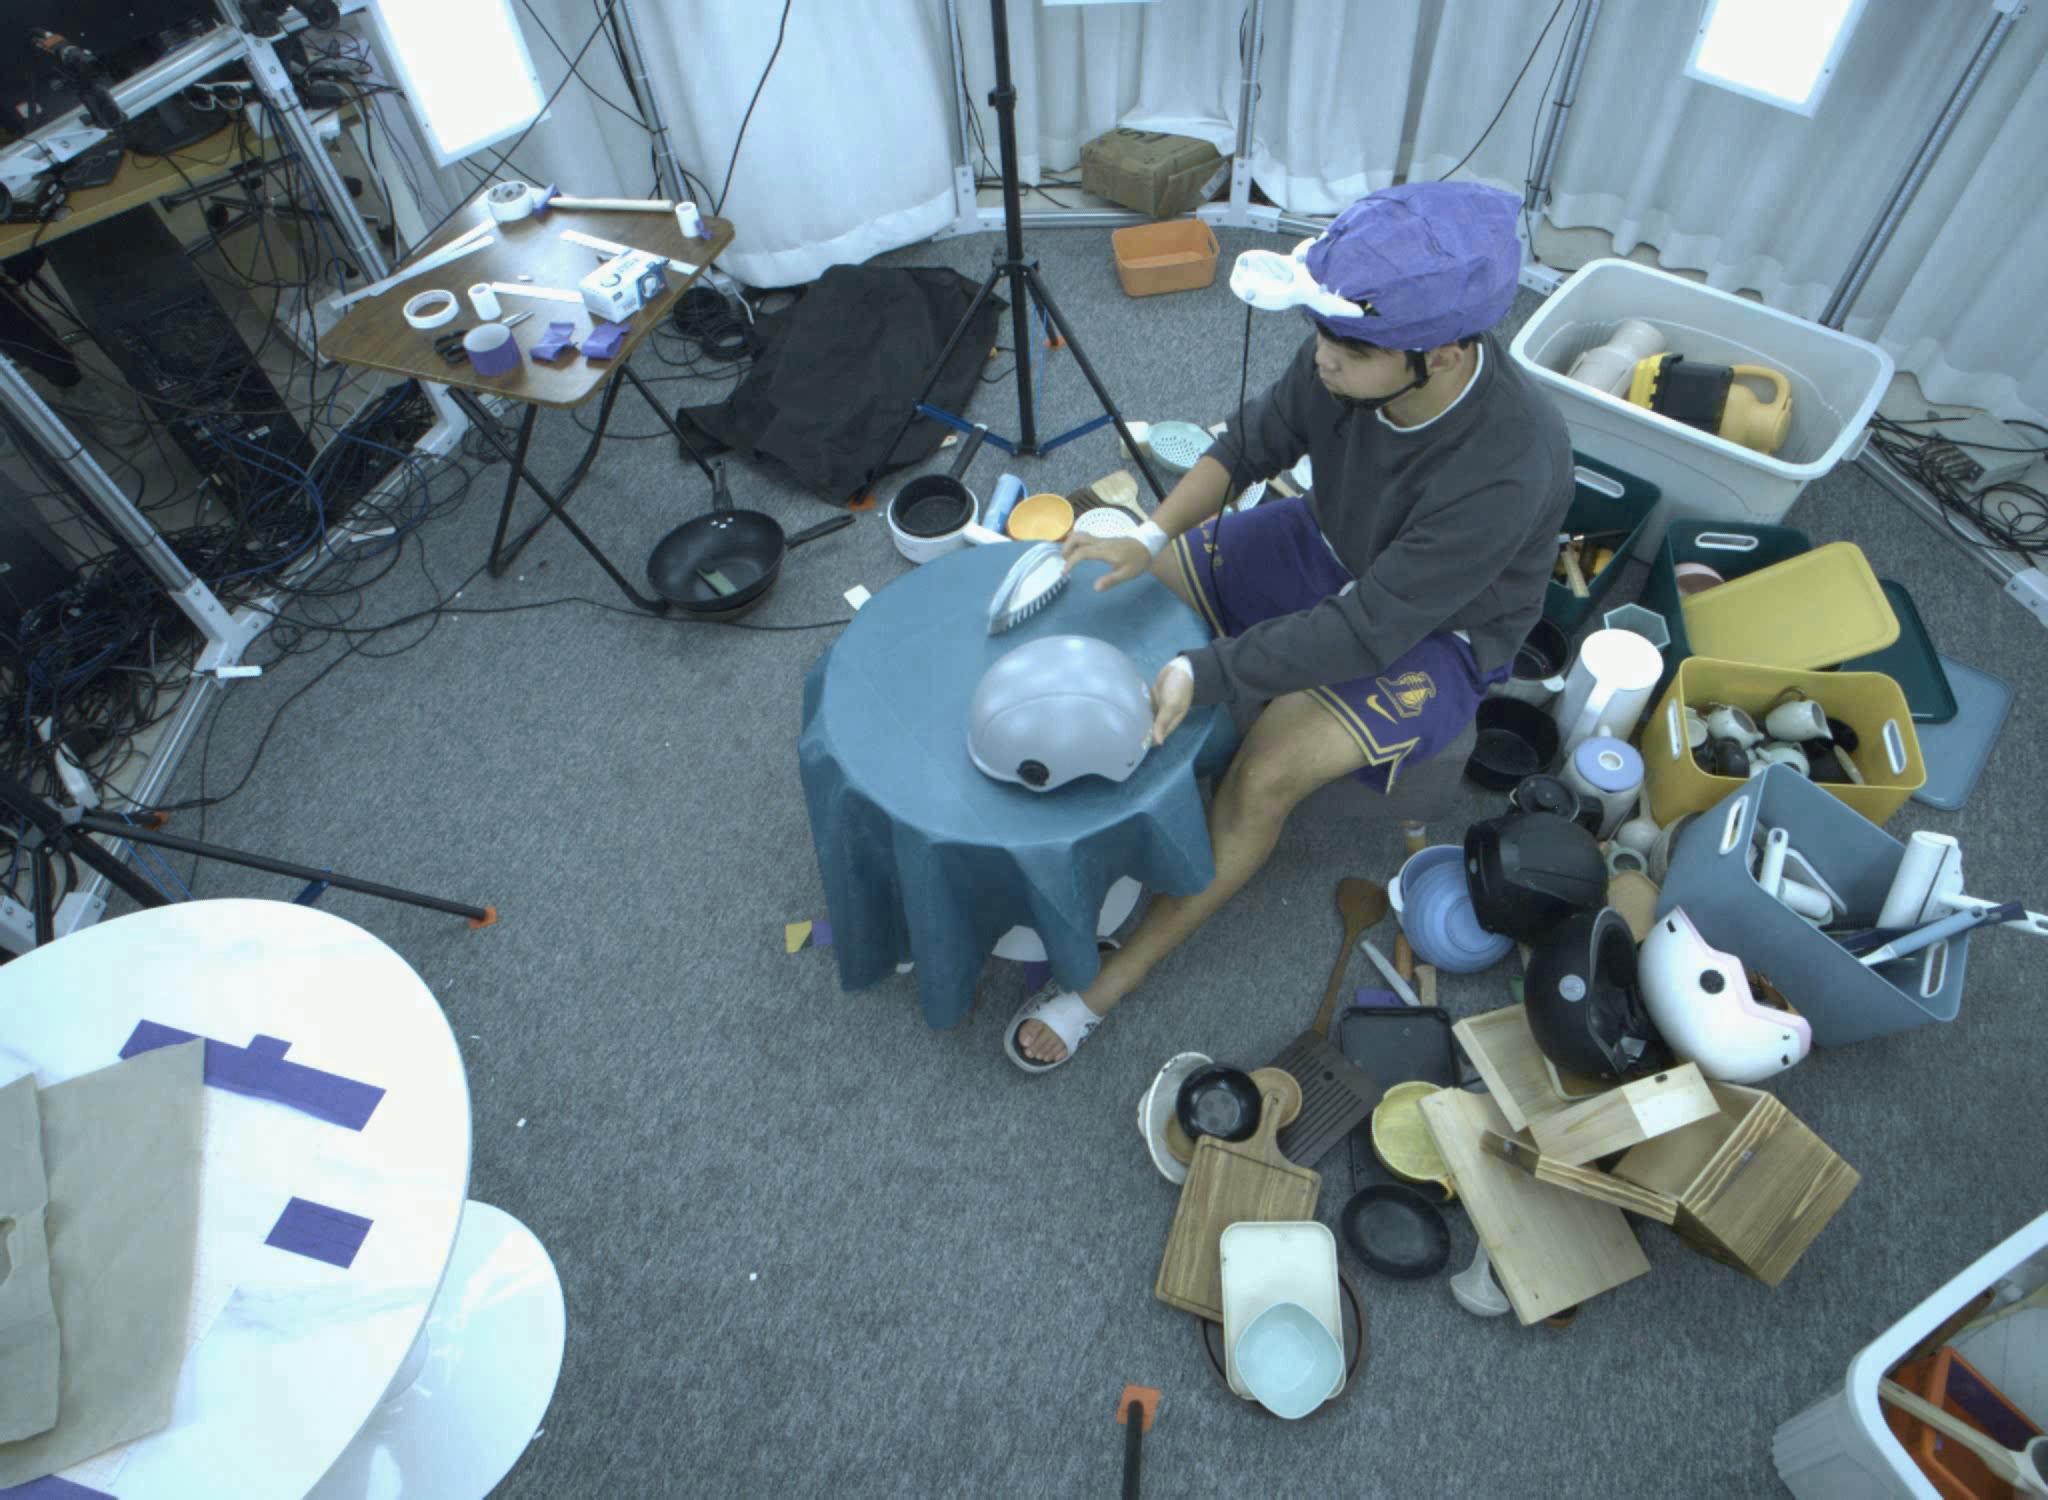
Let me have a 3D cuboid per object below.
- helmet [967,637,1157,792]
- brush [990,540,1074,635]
[{"bbox_3d":[0.048,-0.070,1.736,0.275,0.171,0.230,0,47,5],"label":"helmet"},{"bbox_3d":[0.003,-0.261,1.919,0.060,0.095,0.176,32,64,26],"label":"brush"}]
